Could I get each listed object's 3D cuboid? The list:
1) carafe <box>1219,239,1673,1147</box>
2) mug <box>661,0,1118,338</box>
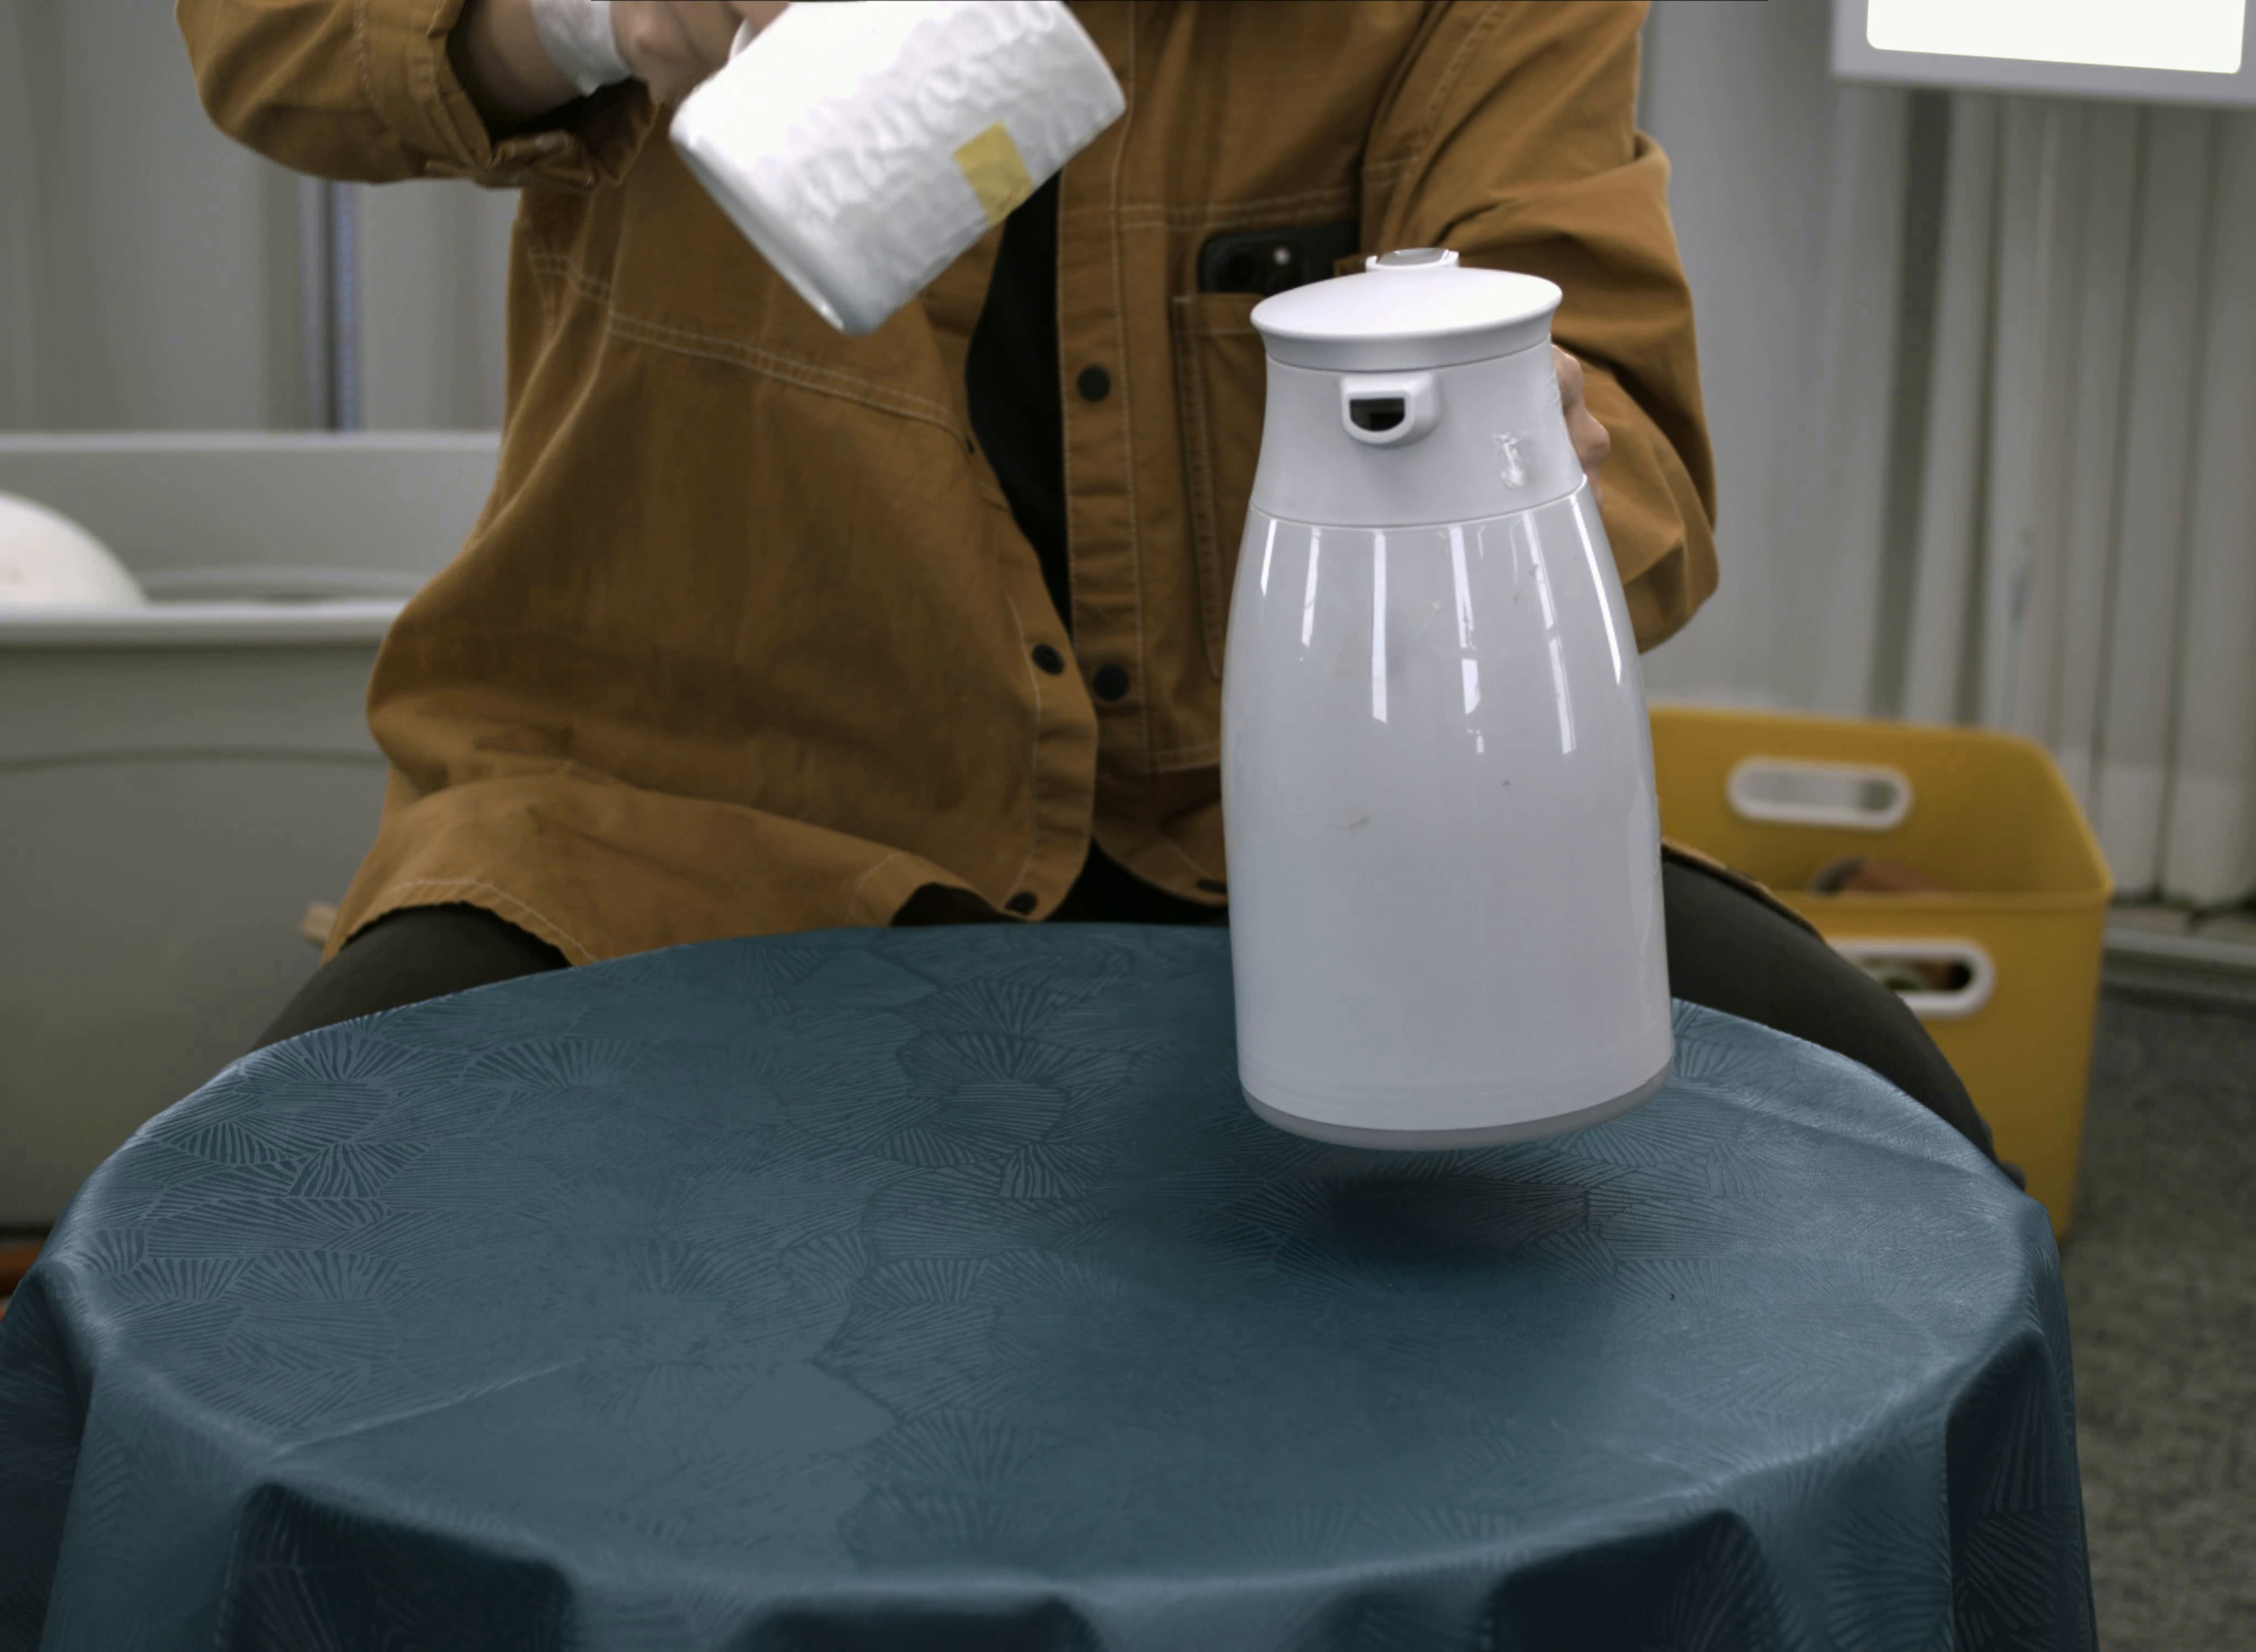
[{"bbox_3d":[0.092,-0.048,1.581,0.132,0.251,0.167,-2,16,10],"label":"carafe"},{"bbox_3d":[-0.076,-0.207,1.481,0.102,0.086,0.116,-43,46,-4],"label":"mug"}]
